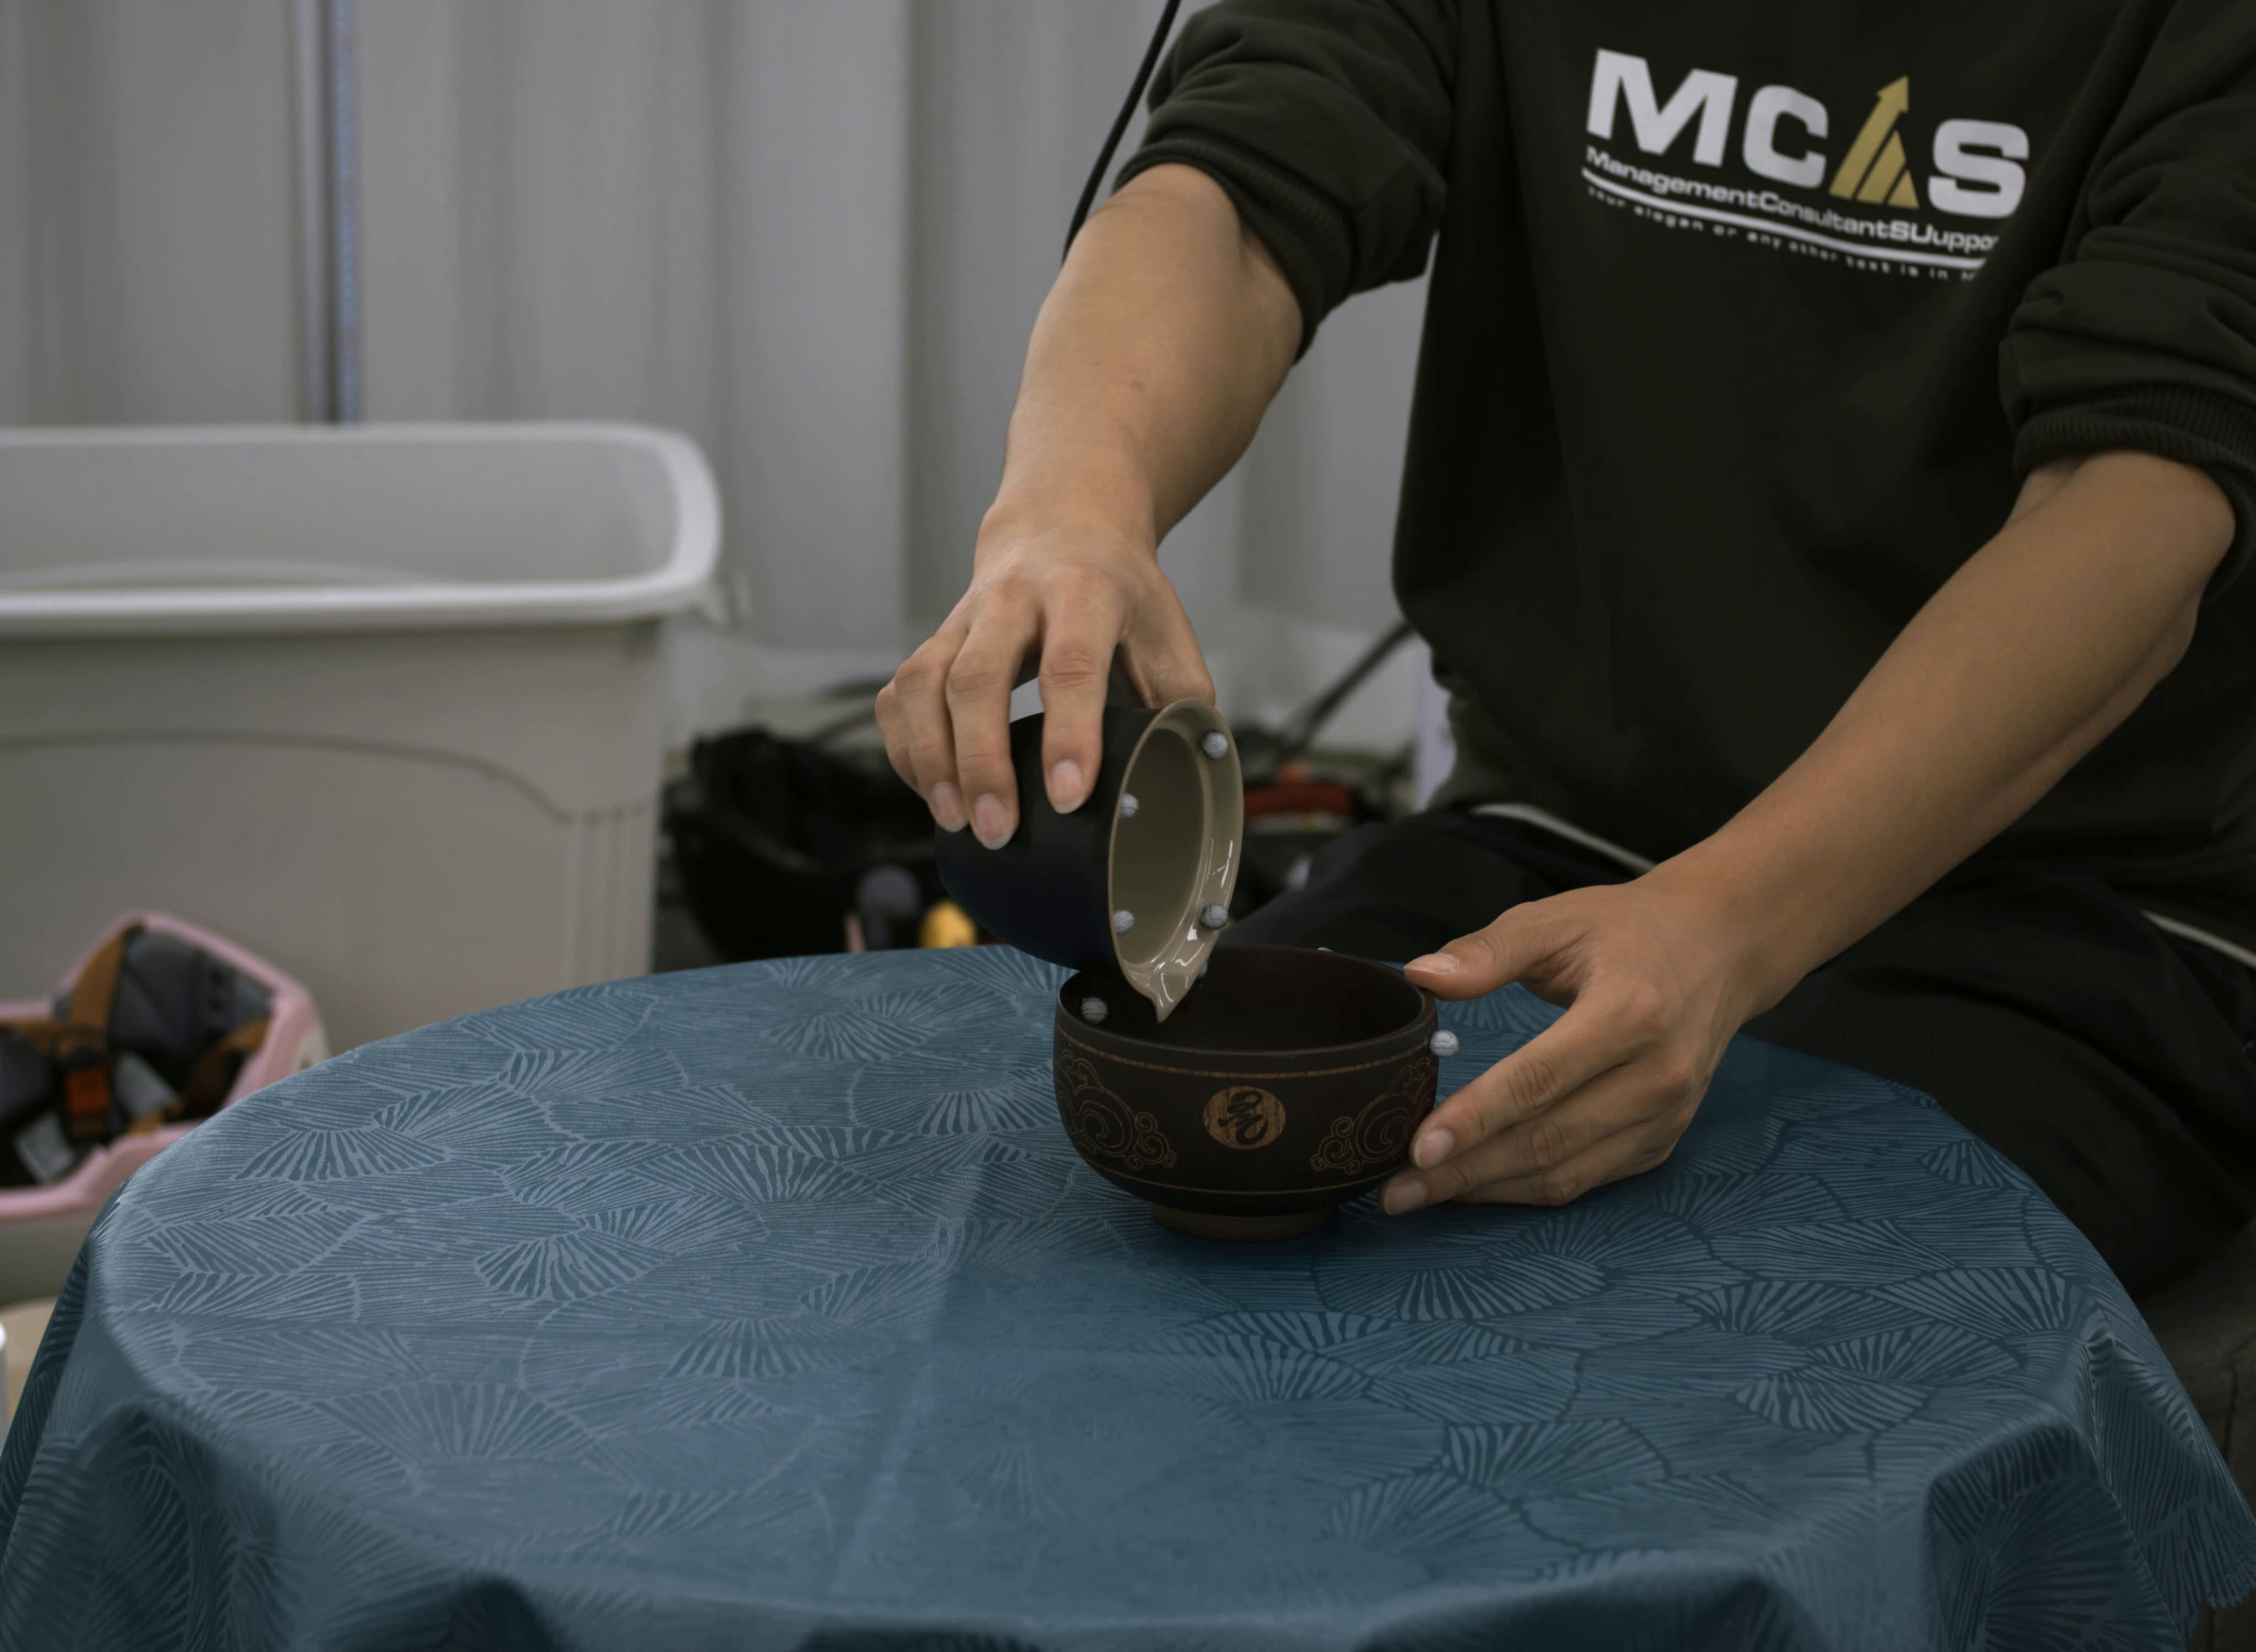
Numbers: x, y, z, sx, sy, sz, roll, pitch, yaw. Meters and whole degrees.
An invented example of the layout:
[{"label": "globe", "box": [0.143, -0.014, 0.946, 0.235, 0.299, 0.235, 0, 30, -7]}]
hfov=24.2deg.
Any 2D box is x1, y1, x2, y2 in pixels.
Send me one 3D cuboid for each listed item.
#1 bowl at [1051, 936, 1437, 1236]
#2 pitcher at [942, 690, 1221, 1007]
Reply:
[{"label": "bowl", "box": [0.036, 0.083, 1.605, 0.117, 0.070, 0.117, -1, 17, 1]}, {"label": "pitcher", "box": [-0.015, 0.003, 1.609, 0.070, 0.096, 0.084, 10, 8, 21]}]
